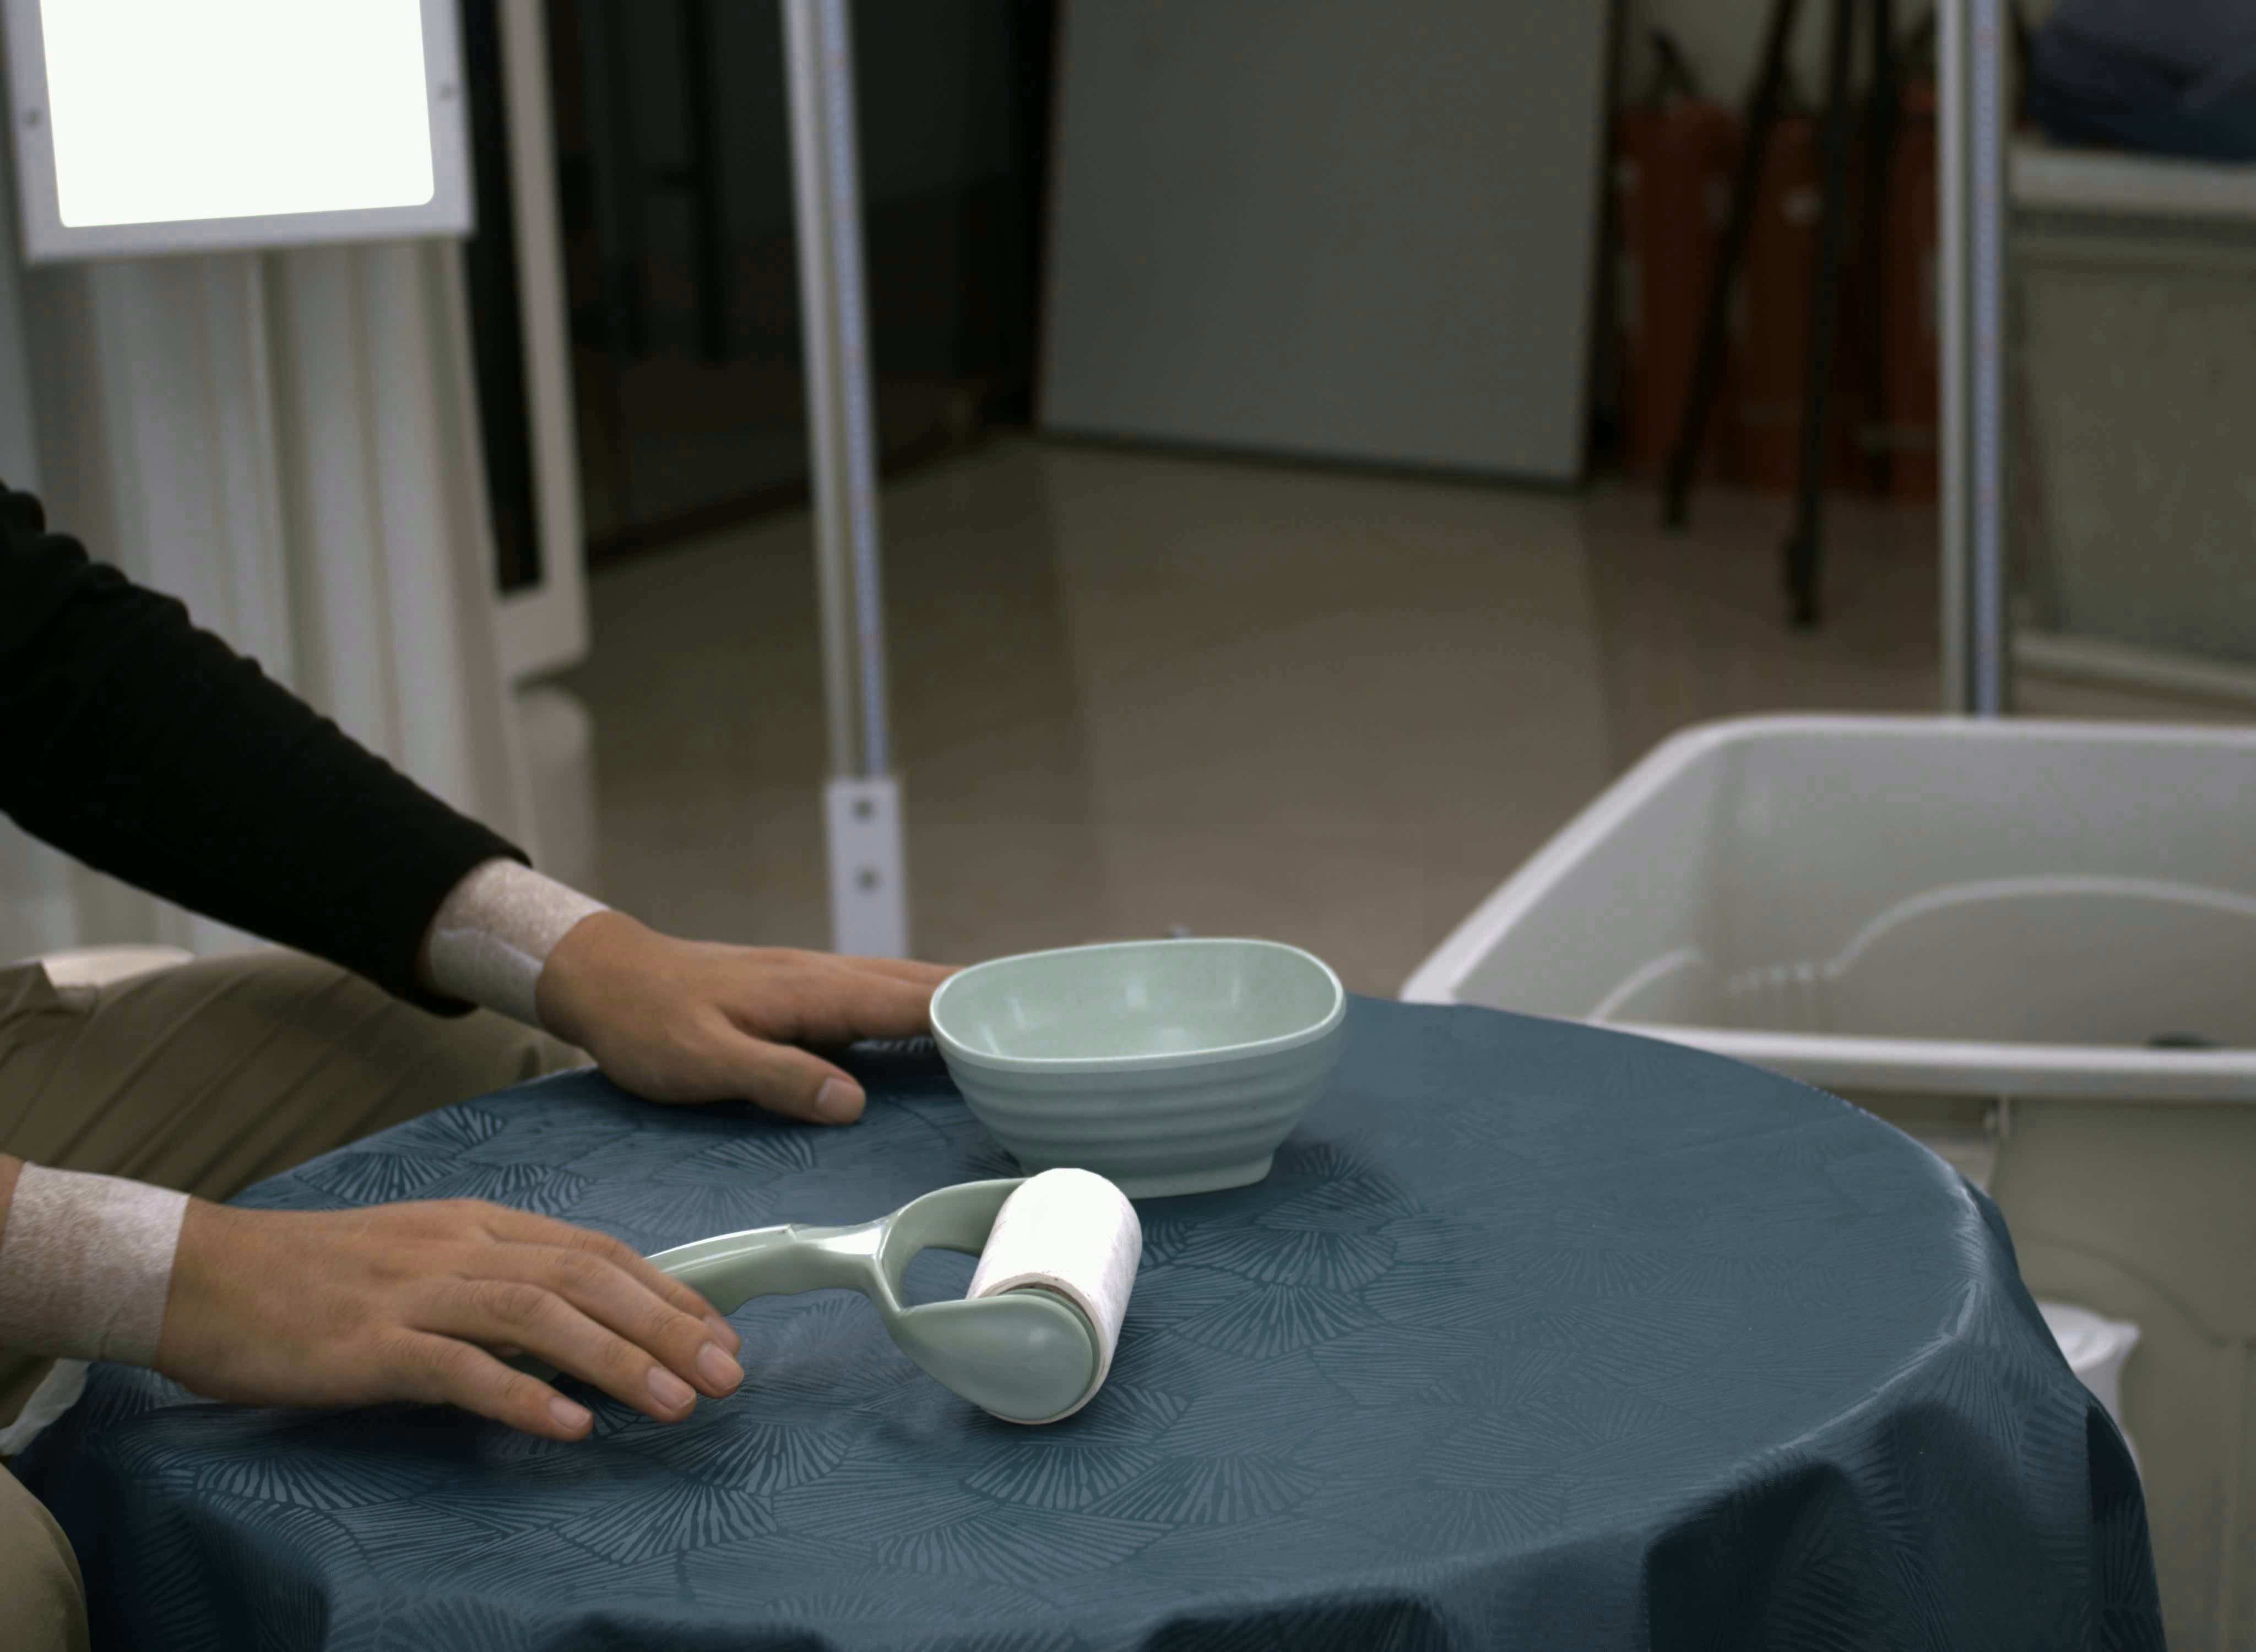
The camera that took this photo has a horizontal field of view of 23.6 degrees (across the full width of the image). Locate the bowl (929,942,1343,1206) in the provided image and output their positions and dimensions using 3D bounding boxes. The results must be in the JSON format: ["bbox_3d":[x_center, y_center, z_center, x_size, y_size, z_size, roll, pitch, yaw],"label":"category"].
[{"bbox_3d":[0.004,0.085,1.796,0.149,0.059,0.152,-3,15,0],"label":"bowl"}]

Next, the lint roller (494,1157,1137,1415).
[{"bbox_3d":[-0.095,0.142,1.622,0.196,0.049,0.116,-4,15,7],"label":"lint roller"}]
